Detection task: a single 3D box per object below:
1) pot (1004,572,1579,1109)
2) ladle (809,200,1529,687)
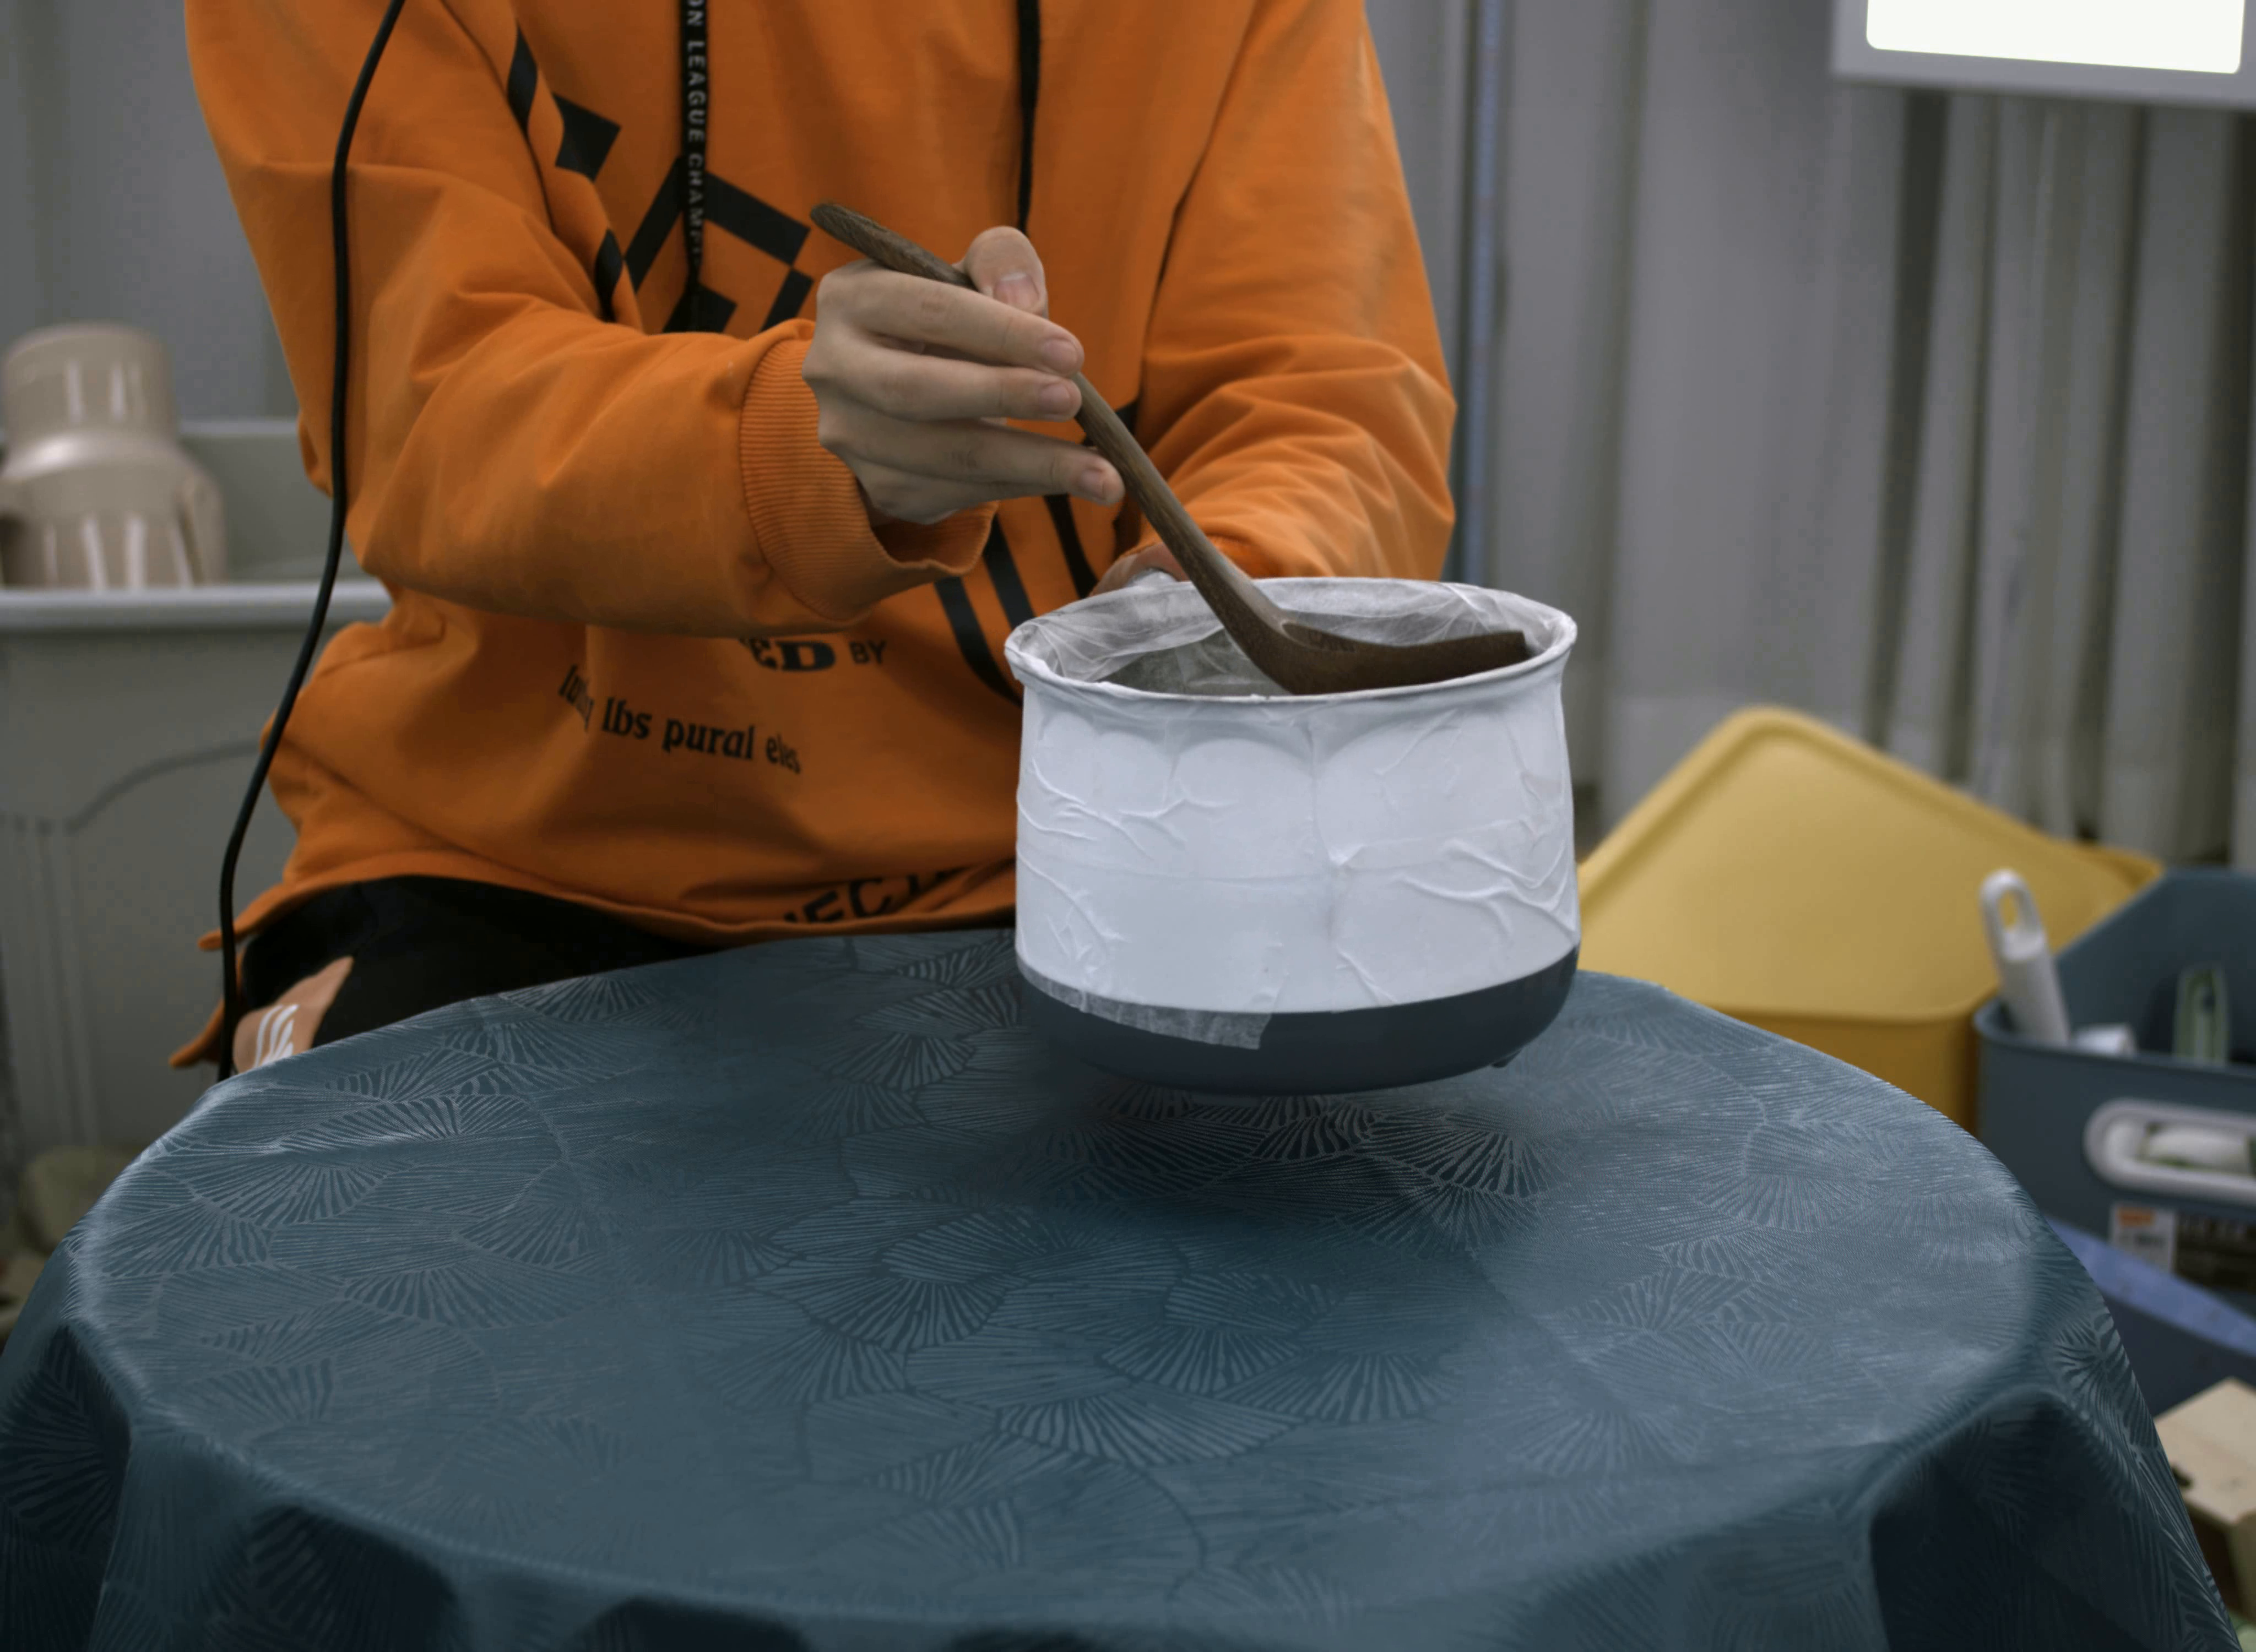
[{"bbox_3d":[0.039,-0.002,1.659,0.179,0.137,0.231,-8,15,-25],"label":"pot"},{"bbox_3d":[0.013,-0.127,1.658,0.272,0.071,0.076,46,12,12],"label":"ladle"}]
